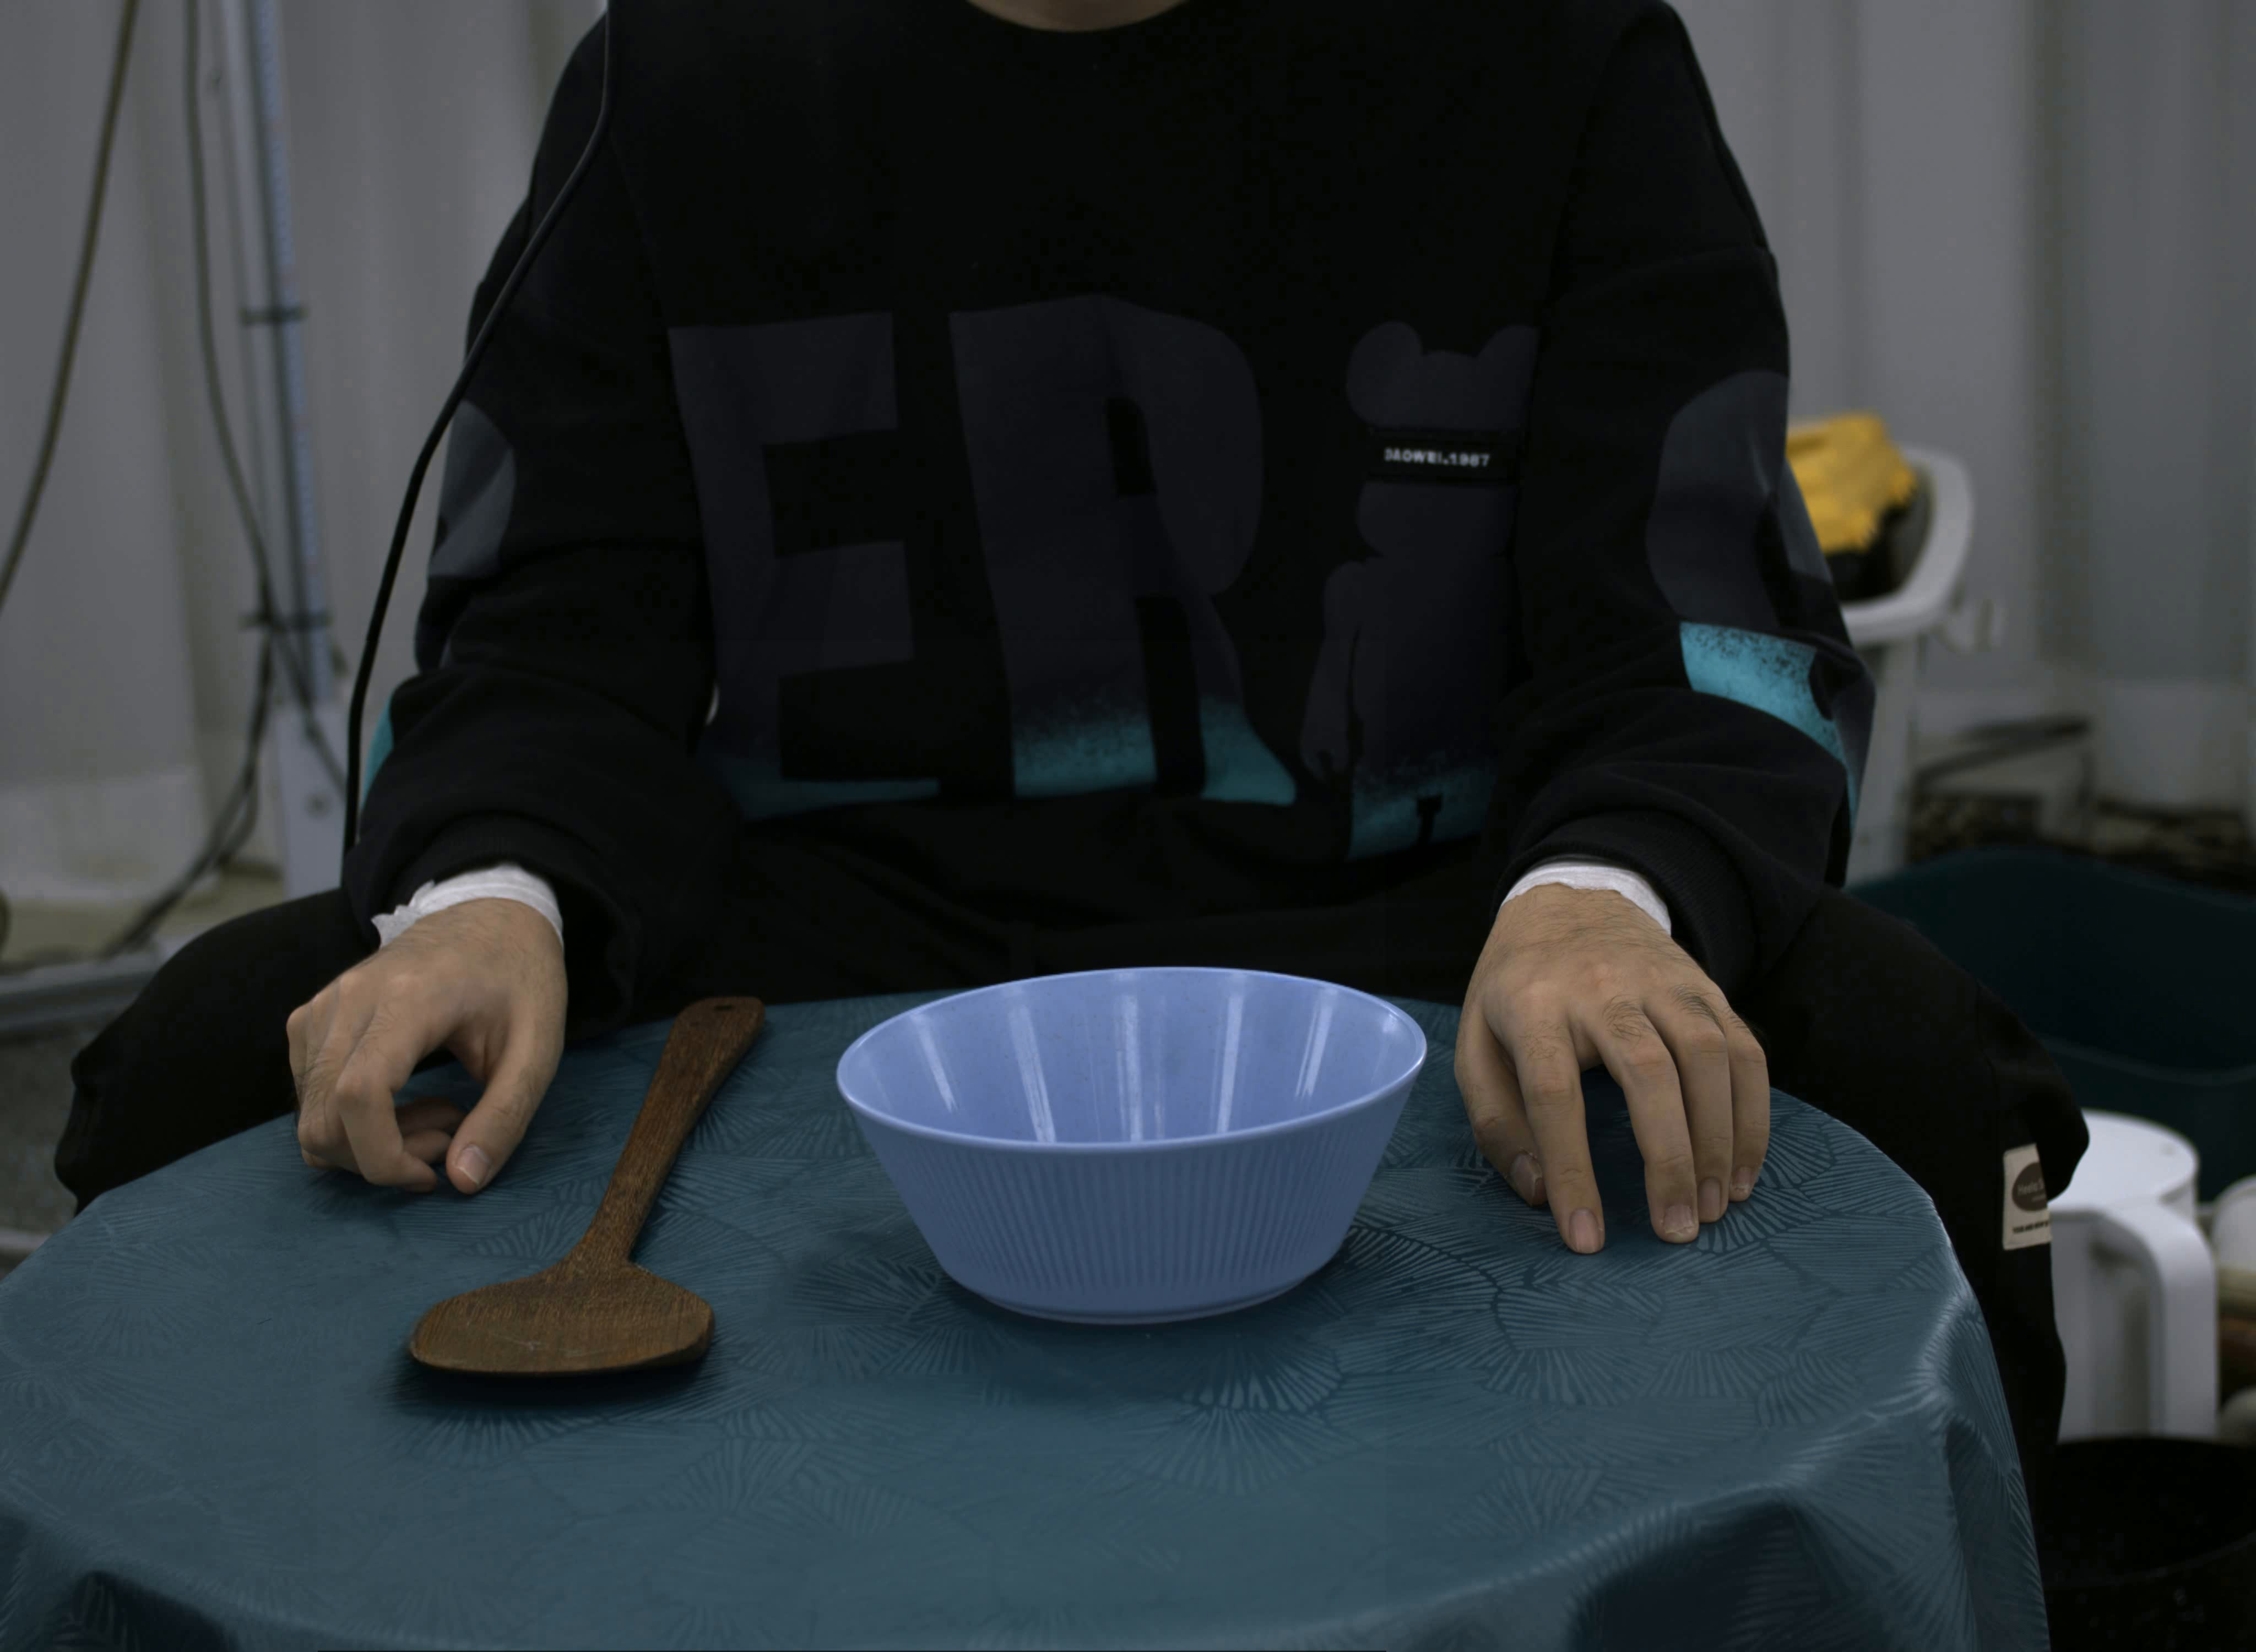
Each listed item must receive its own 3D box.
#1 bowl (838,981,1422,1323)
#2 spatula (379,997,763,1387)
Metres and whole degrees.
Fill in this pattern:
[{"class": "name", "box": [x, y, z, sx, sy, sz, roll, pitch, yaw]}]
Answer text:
[{"class": "bowl", "box": [0.002, 0.100, 1.638, 0.175, 0.070, 0.177, -2, 13, 0]}, {"class": "spatula", "box": [-0.155, 0.110, 1.736, 0.096, 0.016, 0.388, -1, 15, 5]}]
